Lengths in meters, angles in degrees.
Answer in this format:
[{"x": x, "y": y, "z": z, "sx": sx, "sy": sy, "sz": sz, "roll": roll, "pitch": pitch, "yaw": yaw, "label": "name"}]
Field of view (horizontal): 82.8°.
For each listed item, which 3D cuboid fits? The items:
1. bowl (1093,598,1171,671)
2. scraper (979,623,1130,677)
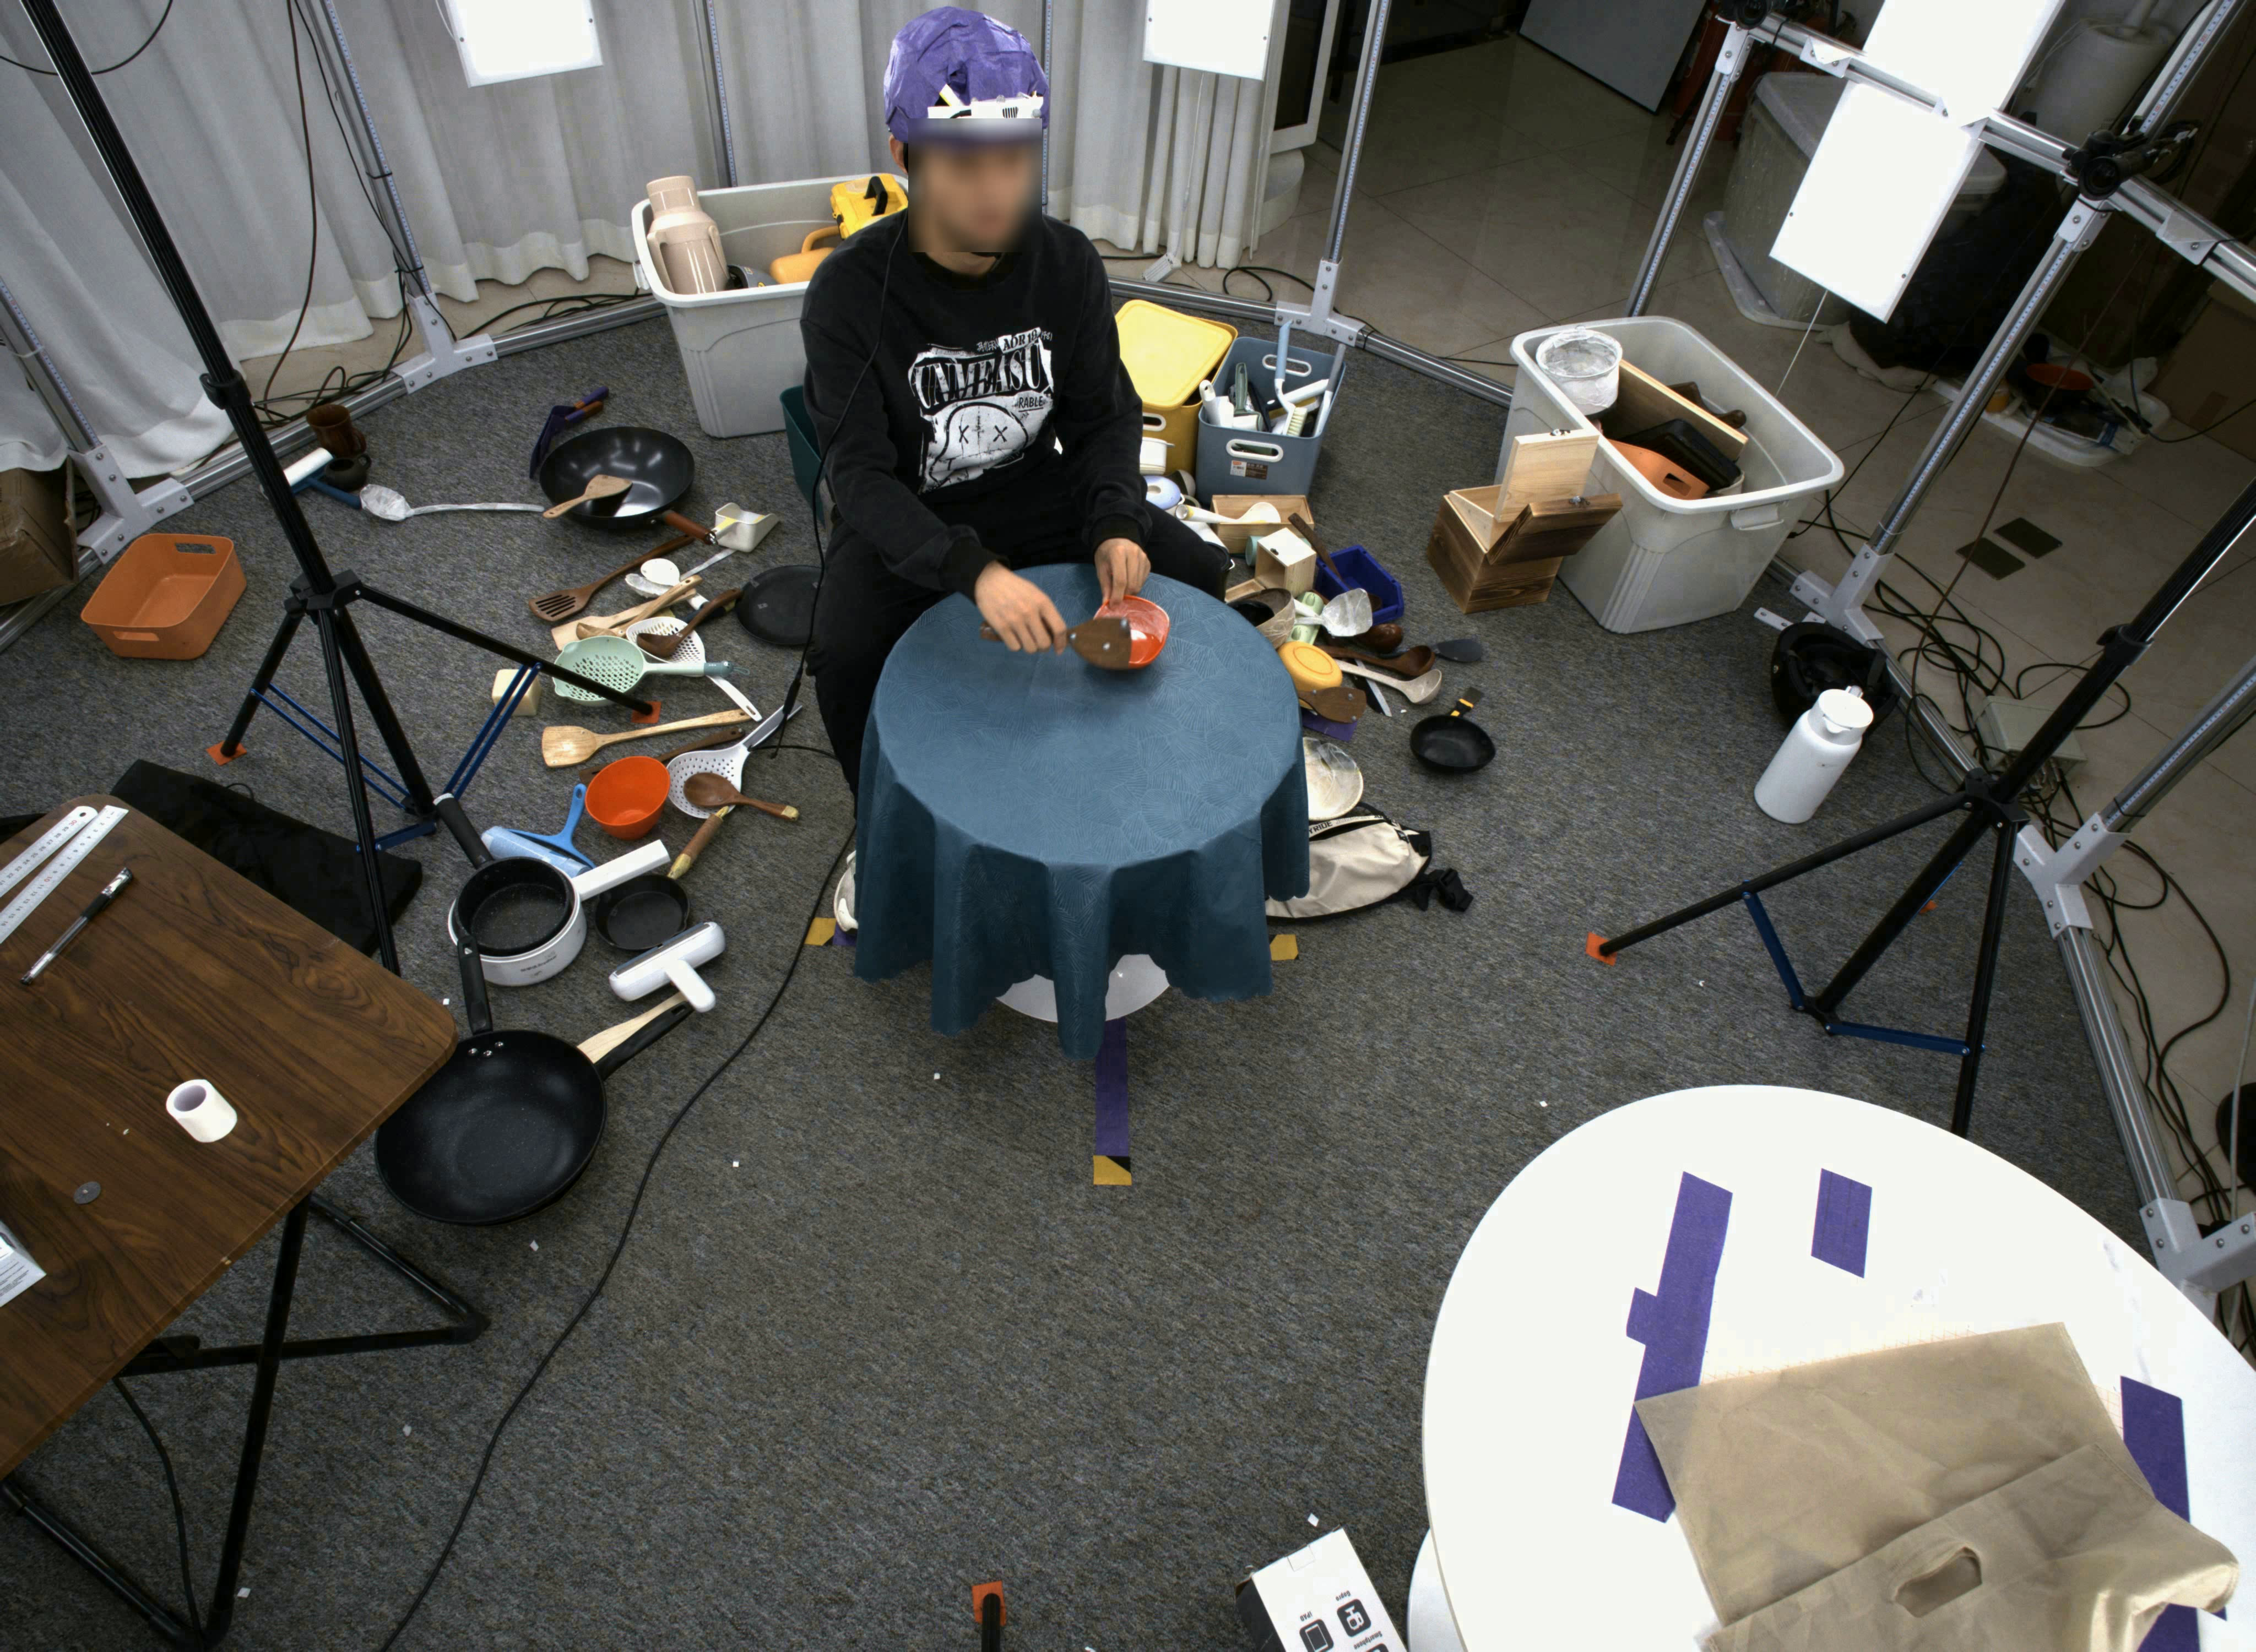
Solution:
[{"x": 0.004, "y": -0.272, "z": 1.879, "sx": 0.119, "sy": 0.050, "sz": 0.121, "roll": 0, "pitch": 66, "yaw": 0, "label": "bowl"}, {"x": -0.101, "y": -0.254, "z": 1.782, "sx": 0.210, "sy": 0.011, "sz": 0.076, "roll": 5, "pitch": 80, "yaw": -11, "label": "scraper"}]
